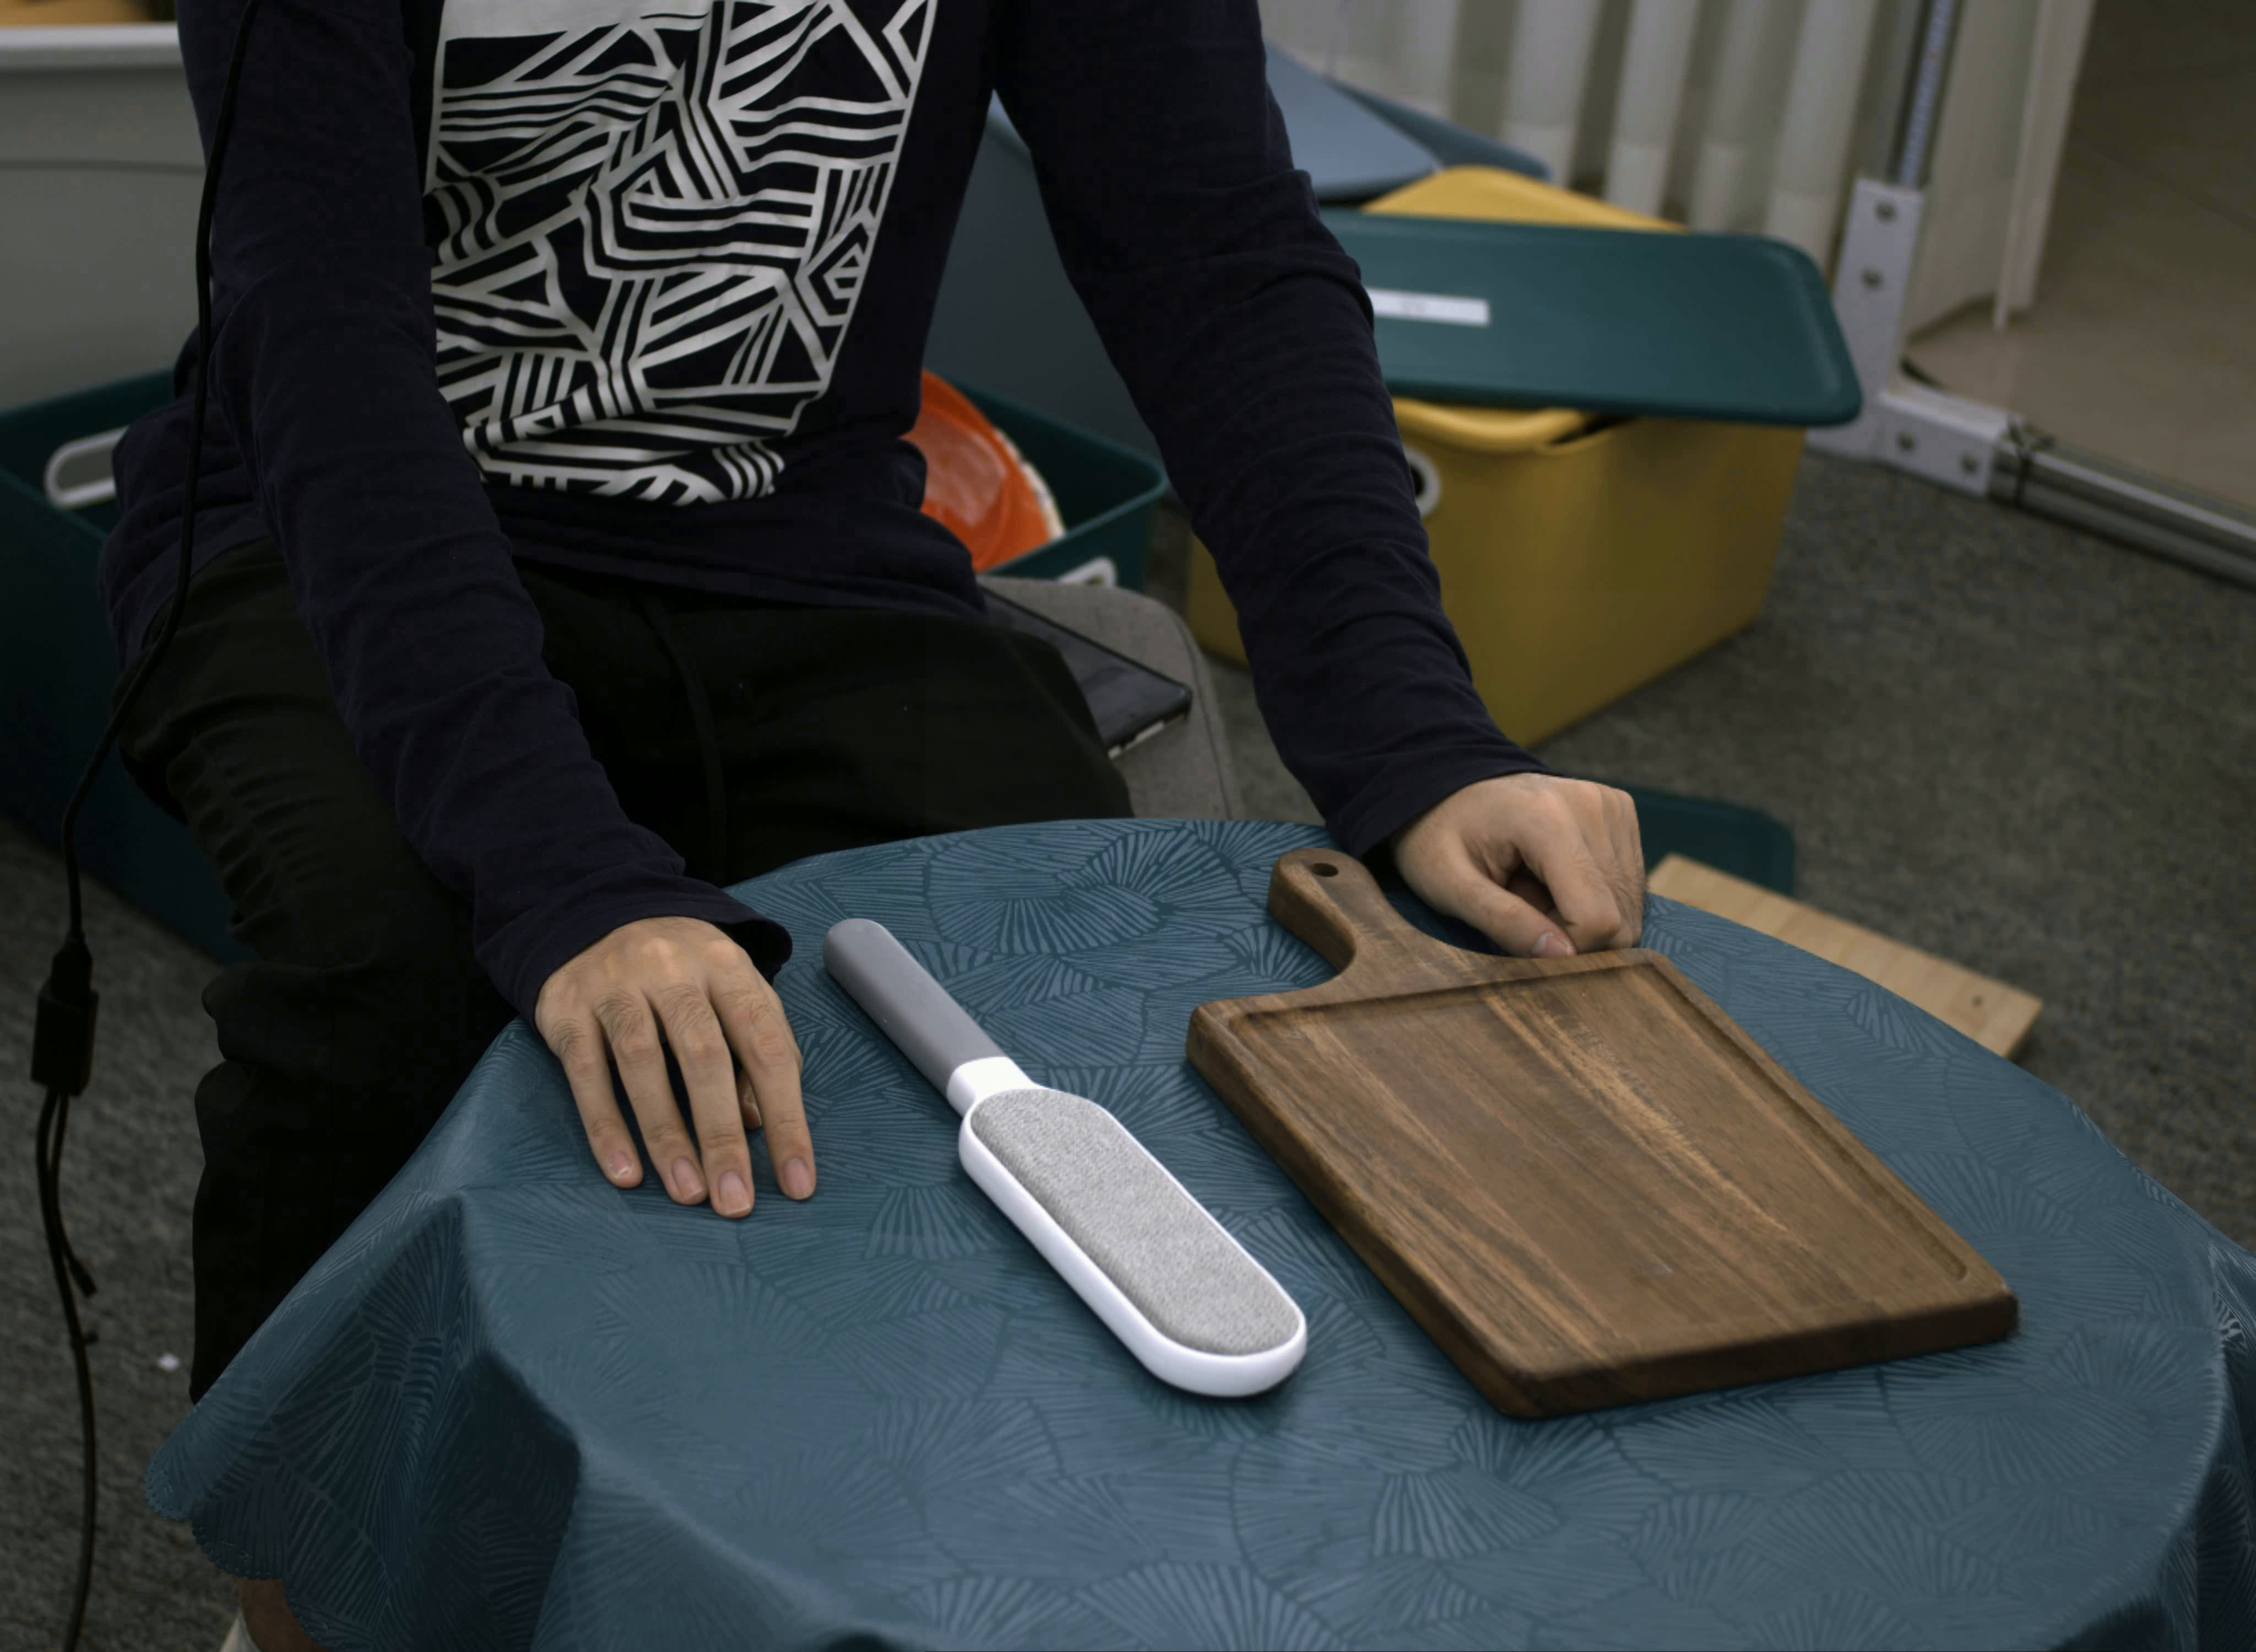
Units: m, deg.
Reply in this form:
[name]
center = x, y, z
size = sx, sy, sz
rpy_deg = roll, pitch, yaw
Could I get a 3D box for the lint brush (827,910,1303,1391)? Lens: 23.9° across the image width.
[lint brush]
center = -0.029, 0.105, 1.806
size = 0.060, 0.021, 0.312
rpy_deg = -13, 32, -24

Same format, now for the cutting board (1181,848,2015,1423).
[cutting board]
center = 0.137, 0.095, 1.871
size = 0.200, 0.023, 0.355
rpy_deg = -7, 29, -24
